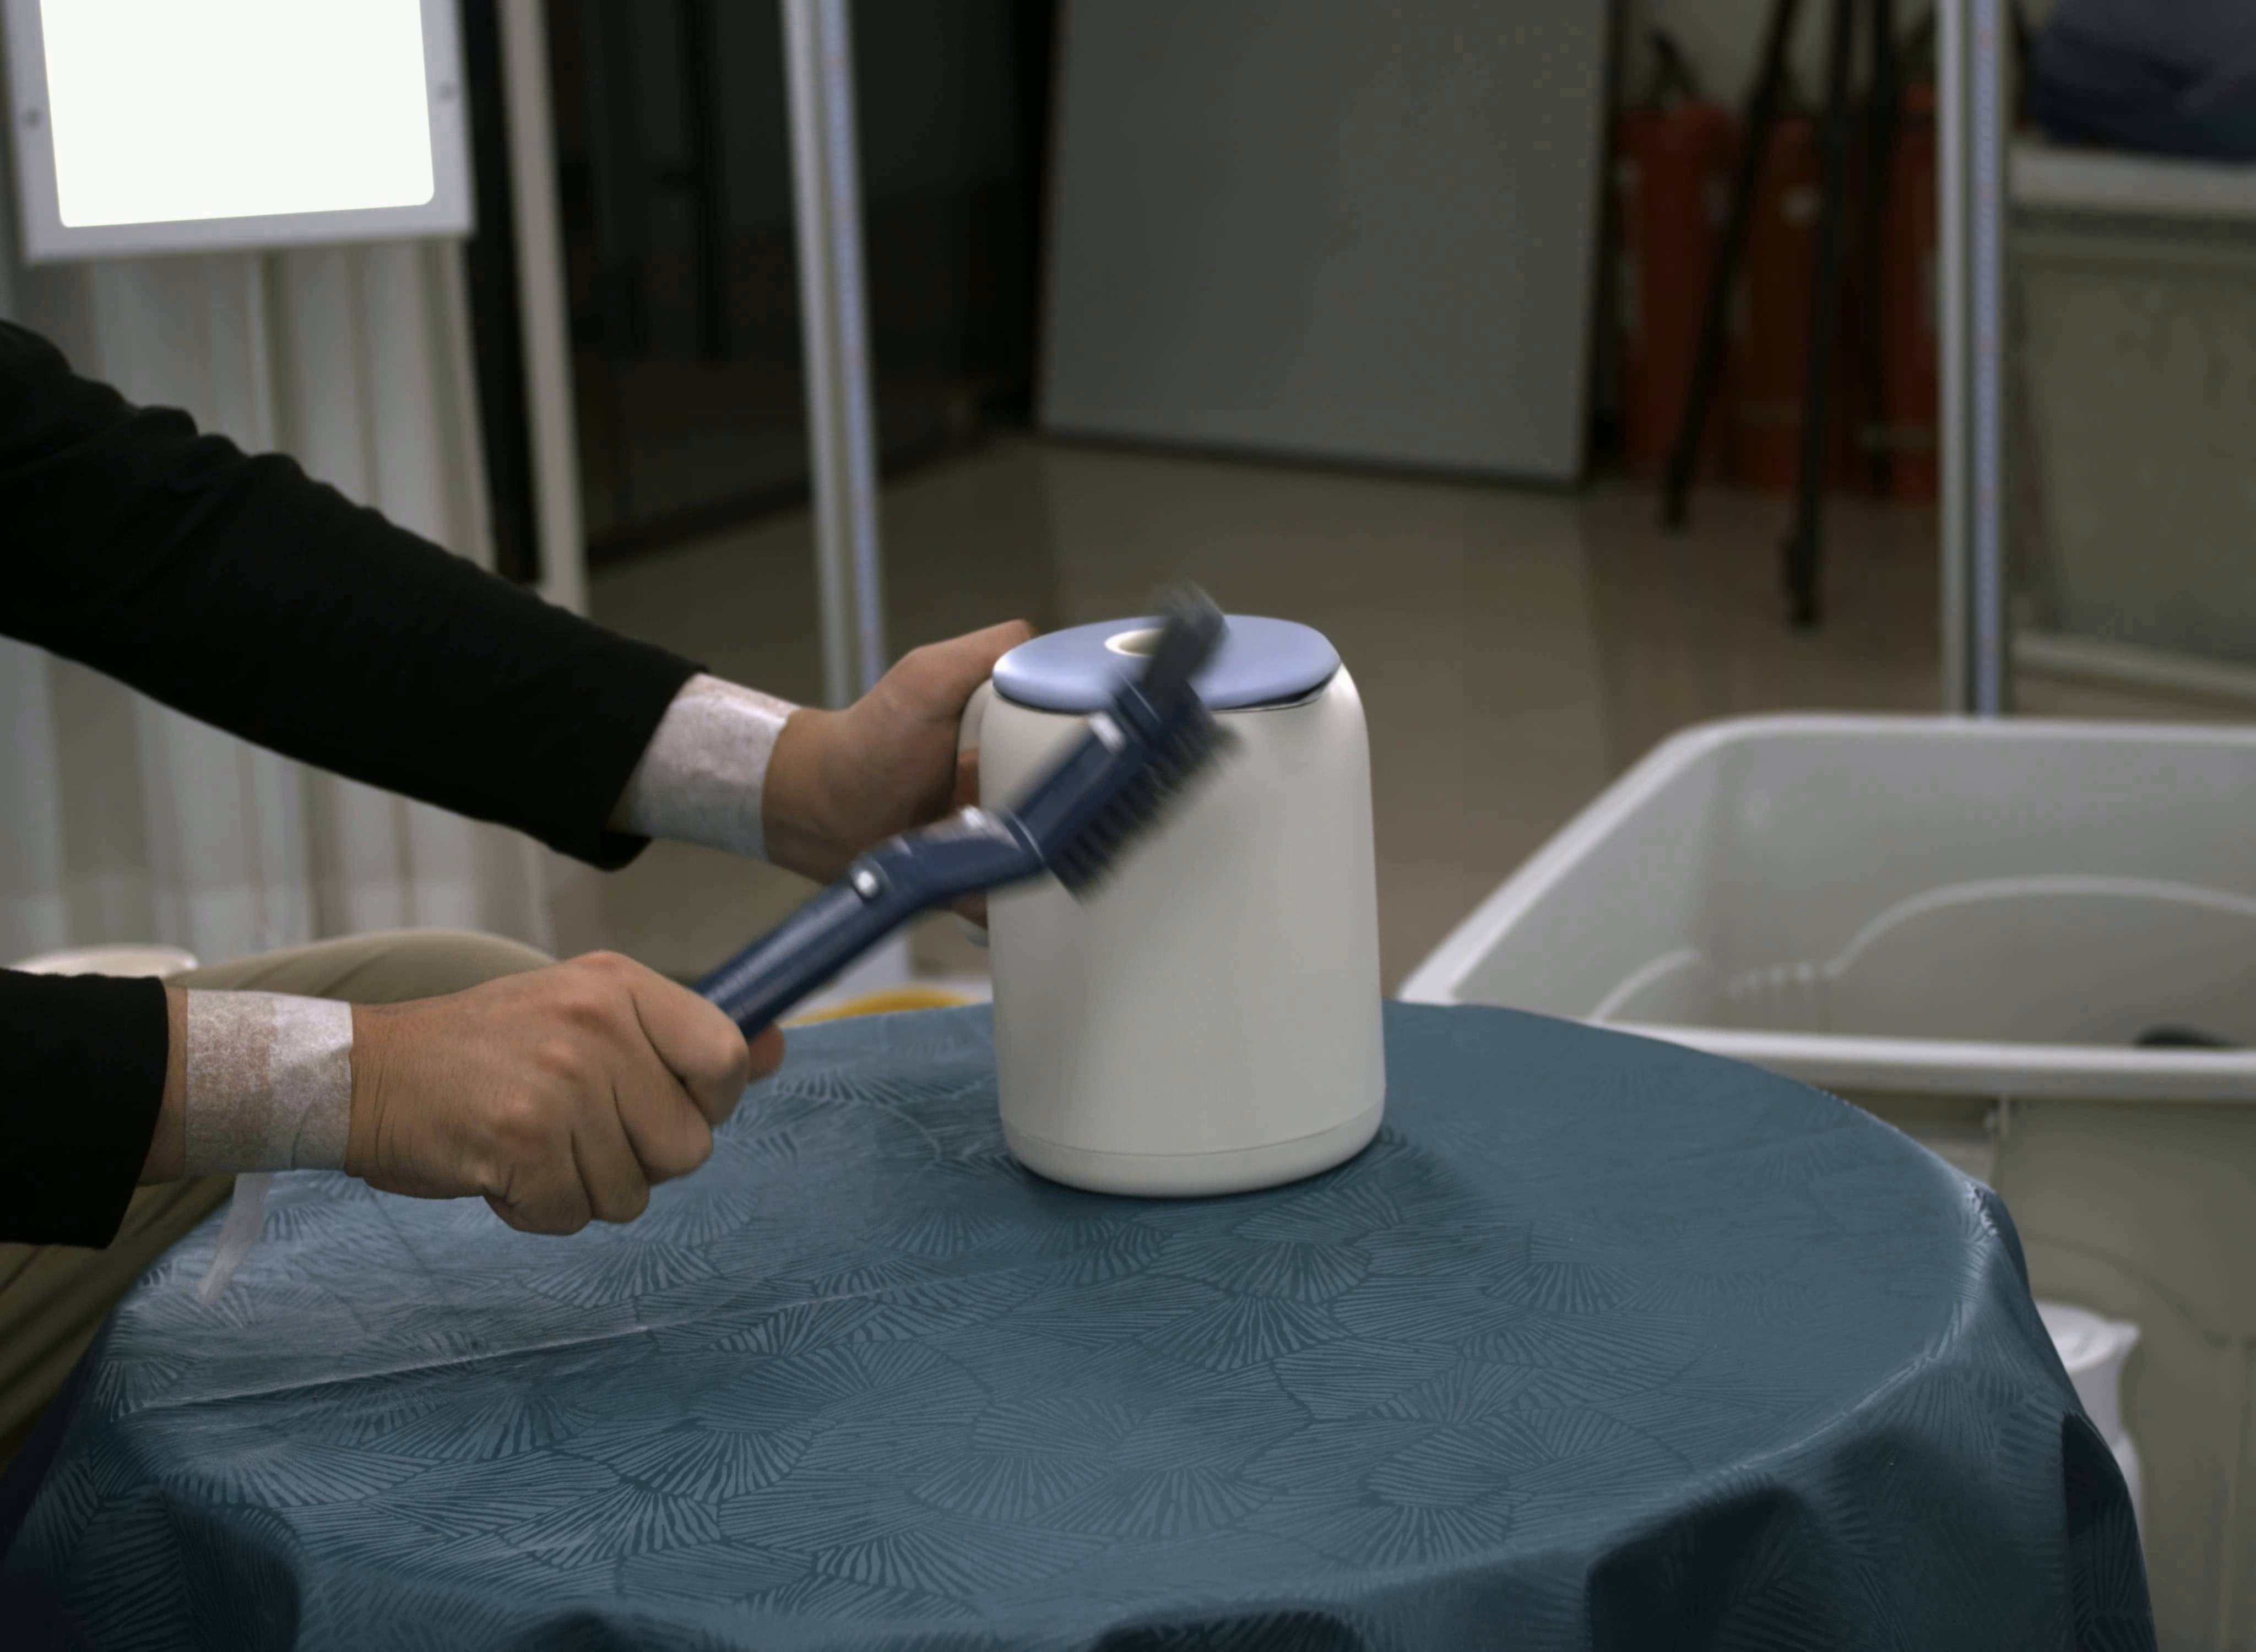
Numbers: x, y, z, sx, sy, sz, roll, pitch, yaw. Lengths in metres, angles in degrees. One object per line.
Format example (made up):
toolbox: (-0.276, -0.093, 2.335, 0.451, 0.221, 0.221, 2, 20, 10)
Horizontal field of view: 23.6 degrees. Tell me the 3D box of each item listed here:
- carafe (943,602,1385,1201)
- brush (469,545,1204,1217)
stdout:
carafe: (0.002, 0.021, 1.814, 0.129, 0.184, 0.193, -14, 16, -38)
brush: (-0.090, 0.018, 1.657, 0.270, 0.095, 0.034, -35, 55, -11)
